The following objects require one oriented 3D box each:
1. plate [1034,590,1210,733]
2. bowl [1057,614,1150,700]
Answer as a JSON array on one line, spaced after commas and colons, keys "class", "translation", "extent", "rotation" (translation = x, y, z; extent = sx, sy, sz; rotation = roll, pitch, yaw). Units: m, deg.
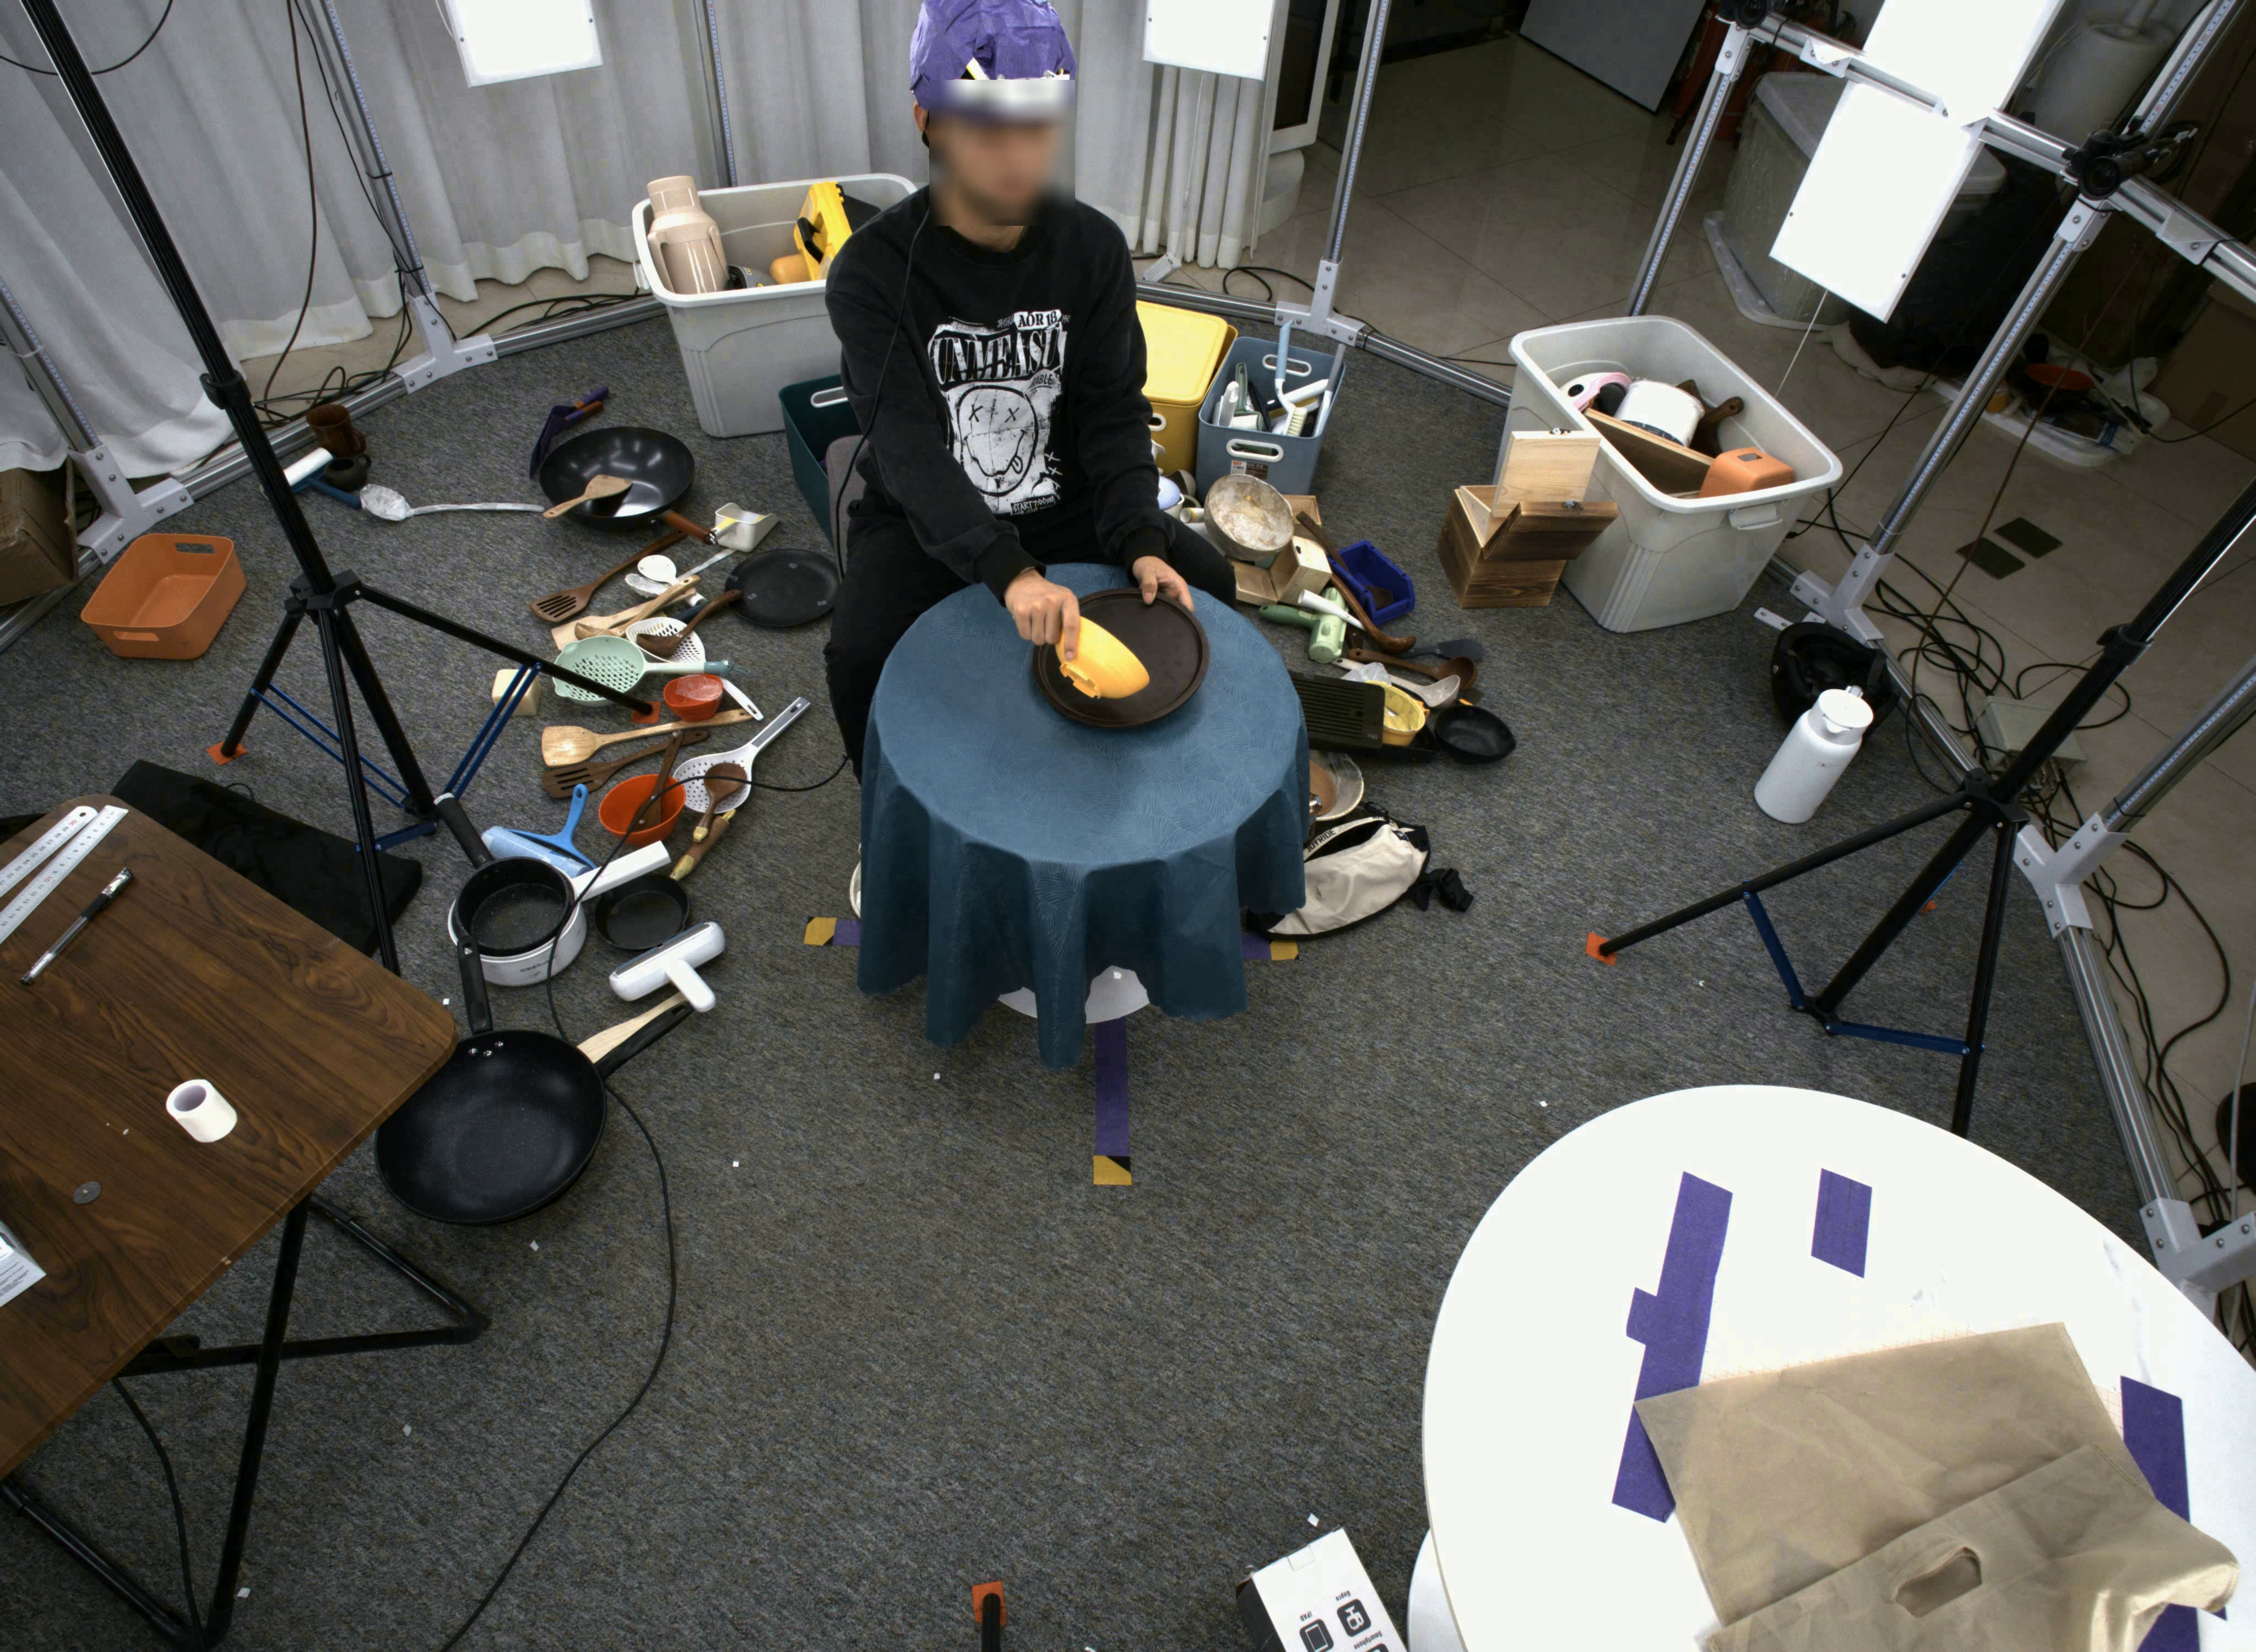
[{"class": "plate", "translation": [-0.008, -0.238, 1.849], "extent": [0.255, 0.028, 0.261], "rotation": [-4, 56, 6]}, {"class": "bowl", "translation": [-0.045, -0.212, 1.707], "extent": [0.147, 0.142, 0.060], "rotation": [35, 80, 23]}]
